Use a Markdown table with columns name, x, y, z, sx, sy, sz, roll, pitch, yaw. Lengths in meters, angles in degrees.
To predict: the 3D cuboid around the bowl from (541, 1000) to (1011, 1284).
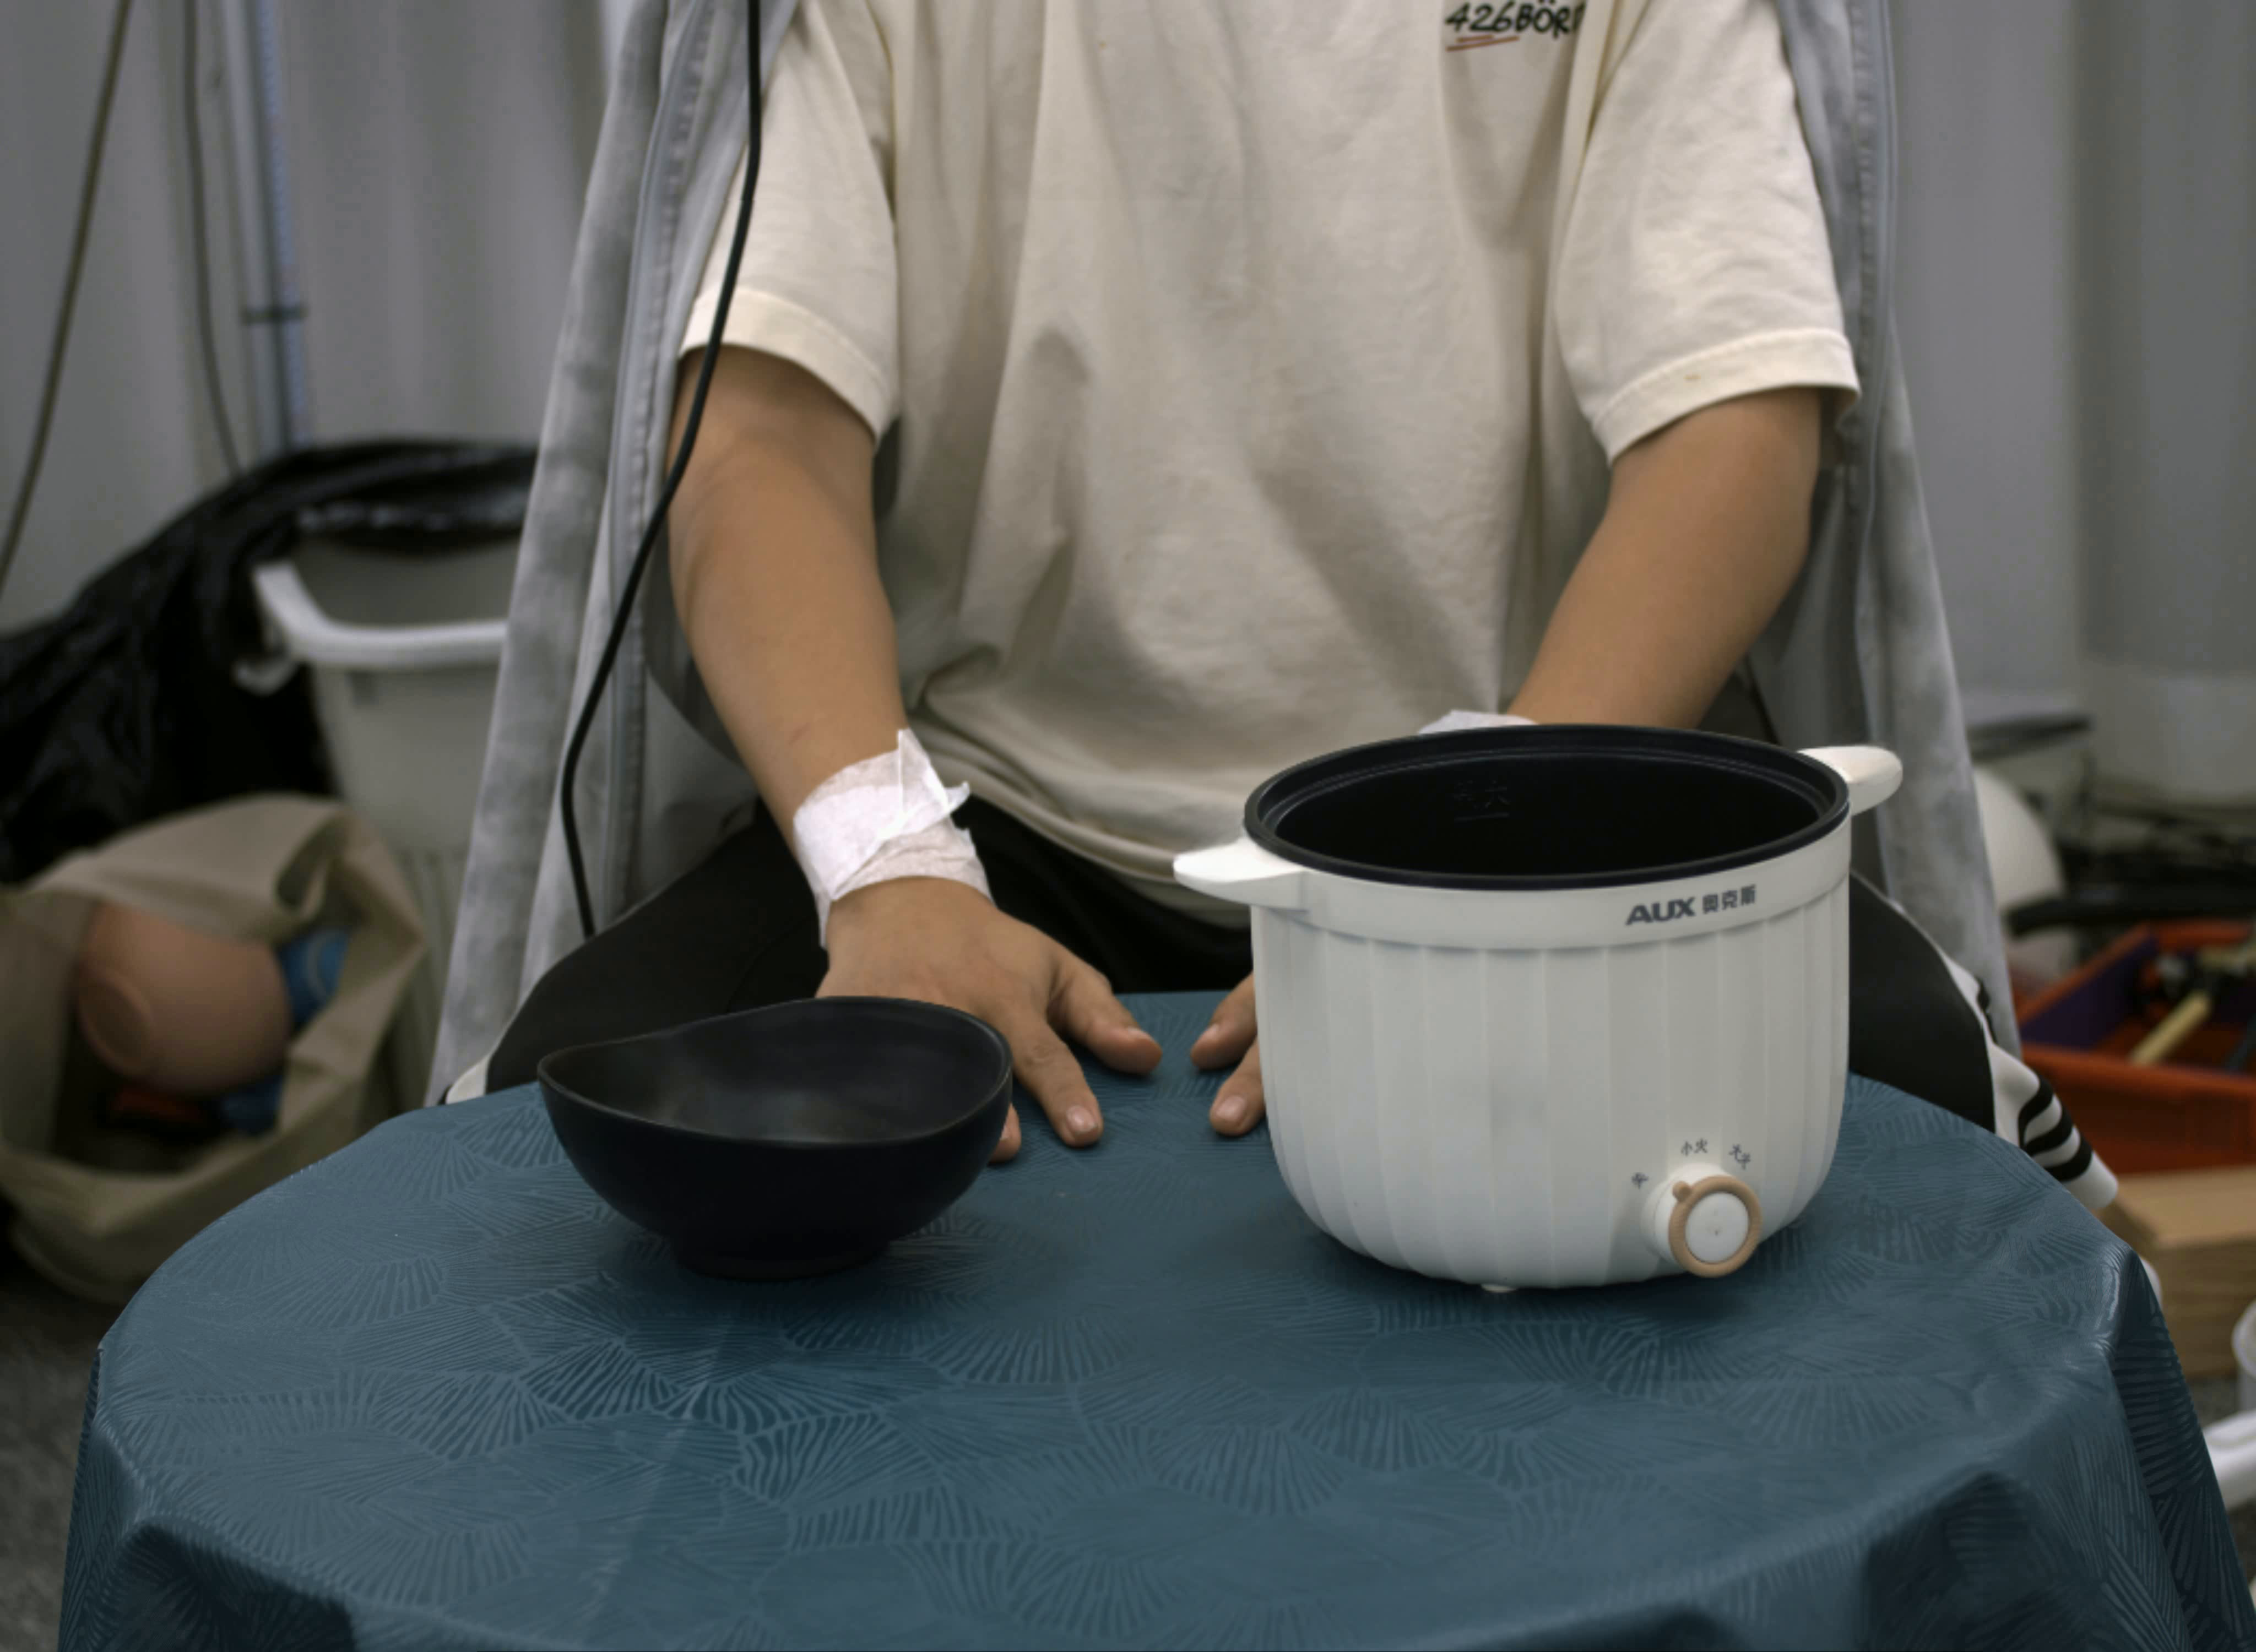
| name | x | y | z | sx | sy | sz | roll | pitch | yaw |
| --- | --- | --- | --- | --- | --- | --- | --- | --- | --- |
| bowl | -0.108 | 0.100 | 1.673 | 0.137 | 0.066 | 0.171 | -11 | 16 | -32 |

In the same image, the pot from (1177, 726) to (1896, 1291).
| name | x | y | z | sx | sy | sz | roll | pitch | yaw |
| --- | --- | --- | --- | --- | --- | --- | --- | --- | --- |
| pot | 0.131 | 0.057 | 1.646 | 0.239 | 0.142 | 0.192 | -10 | 13 | -22 |
